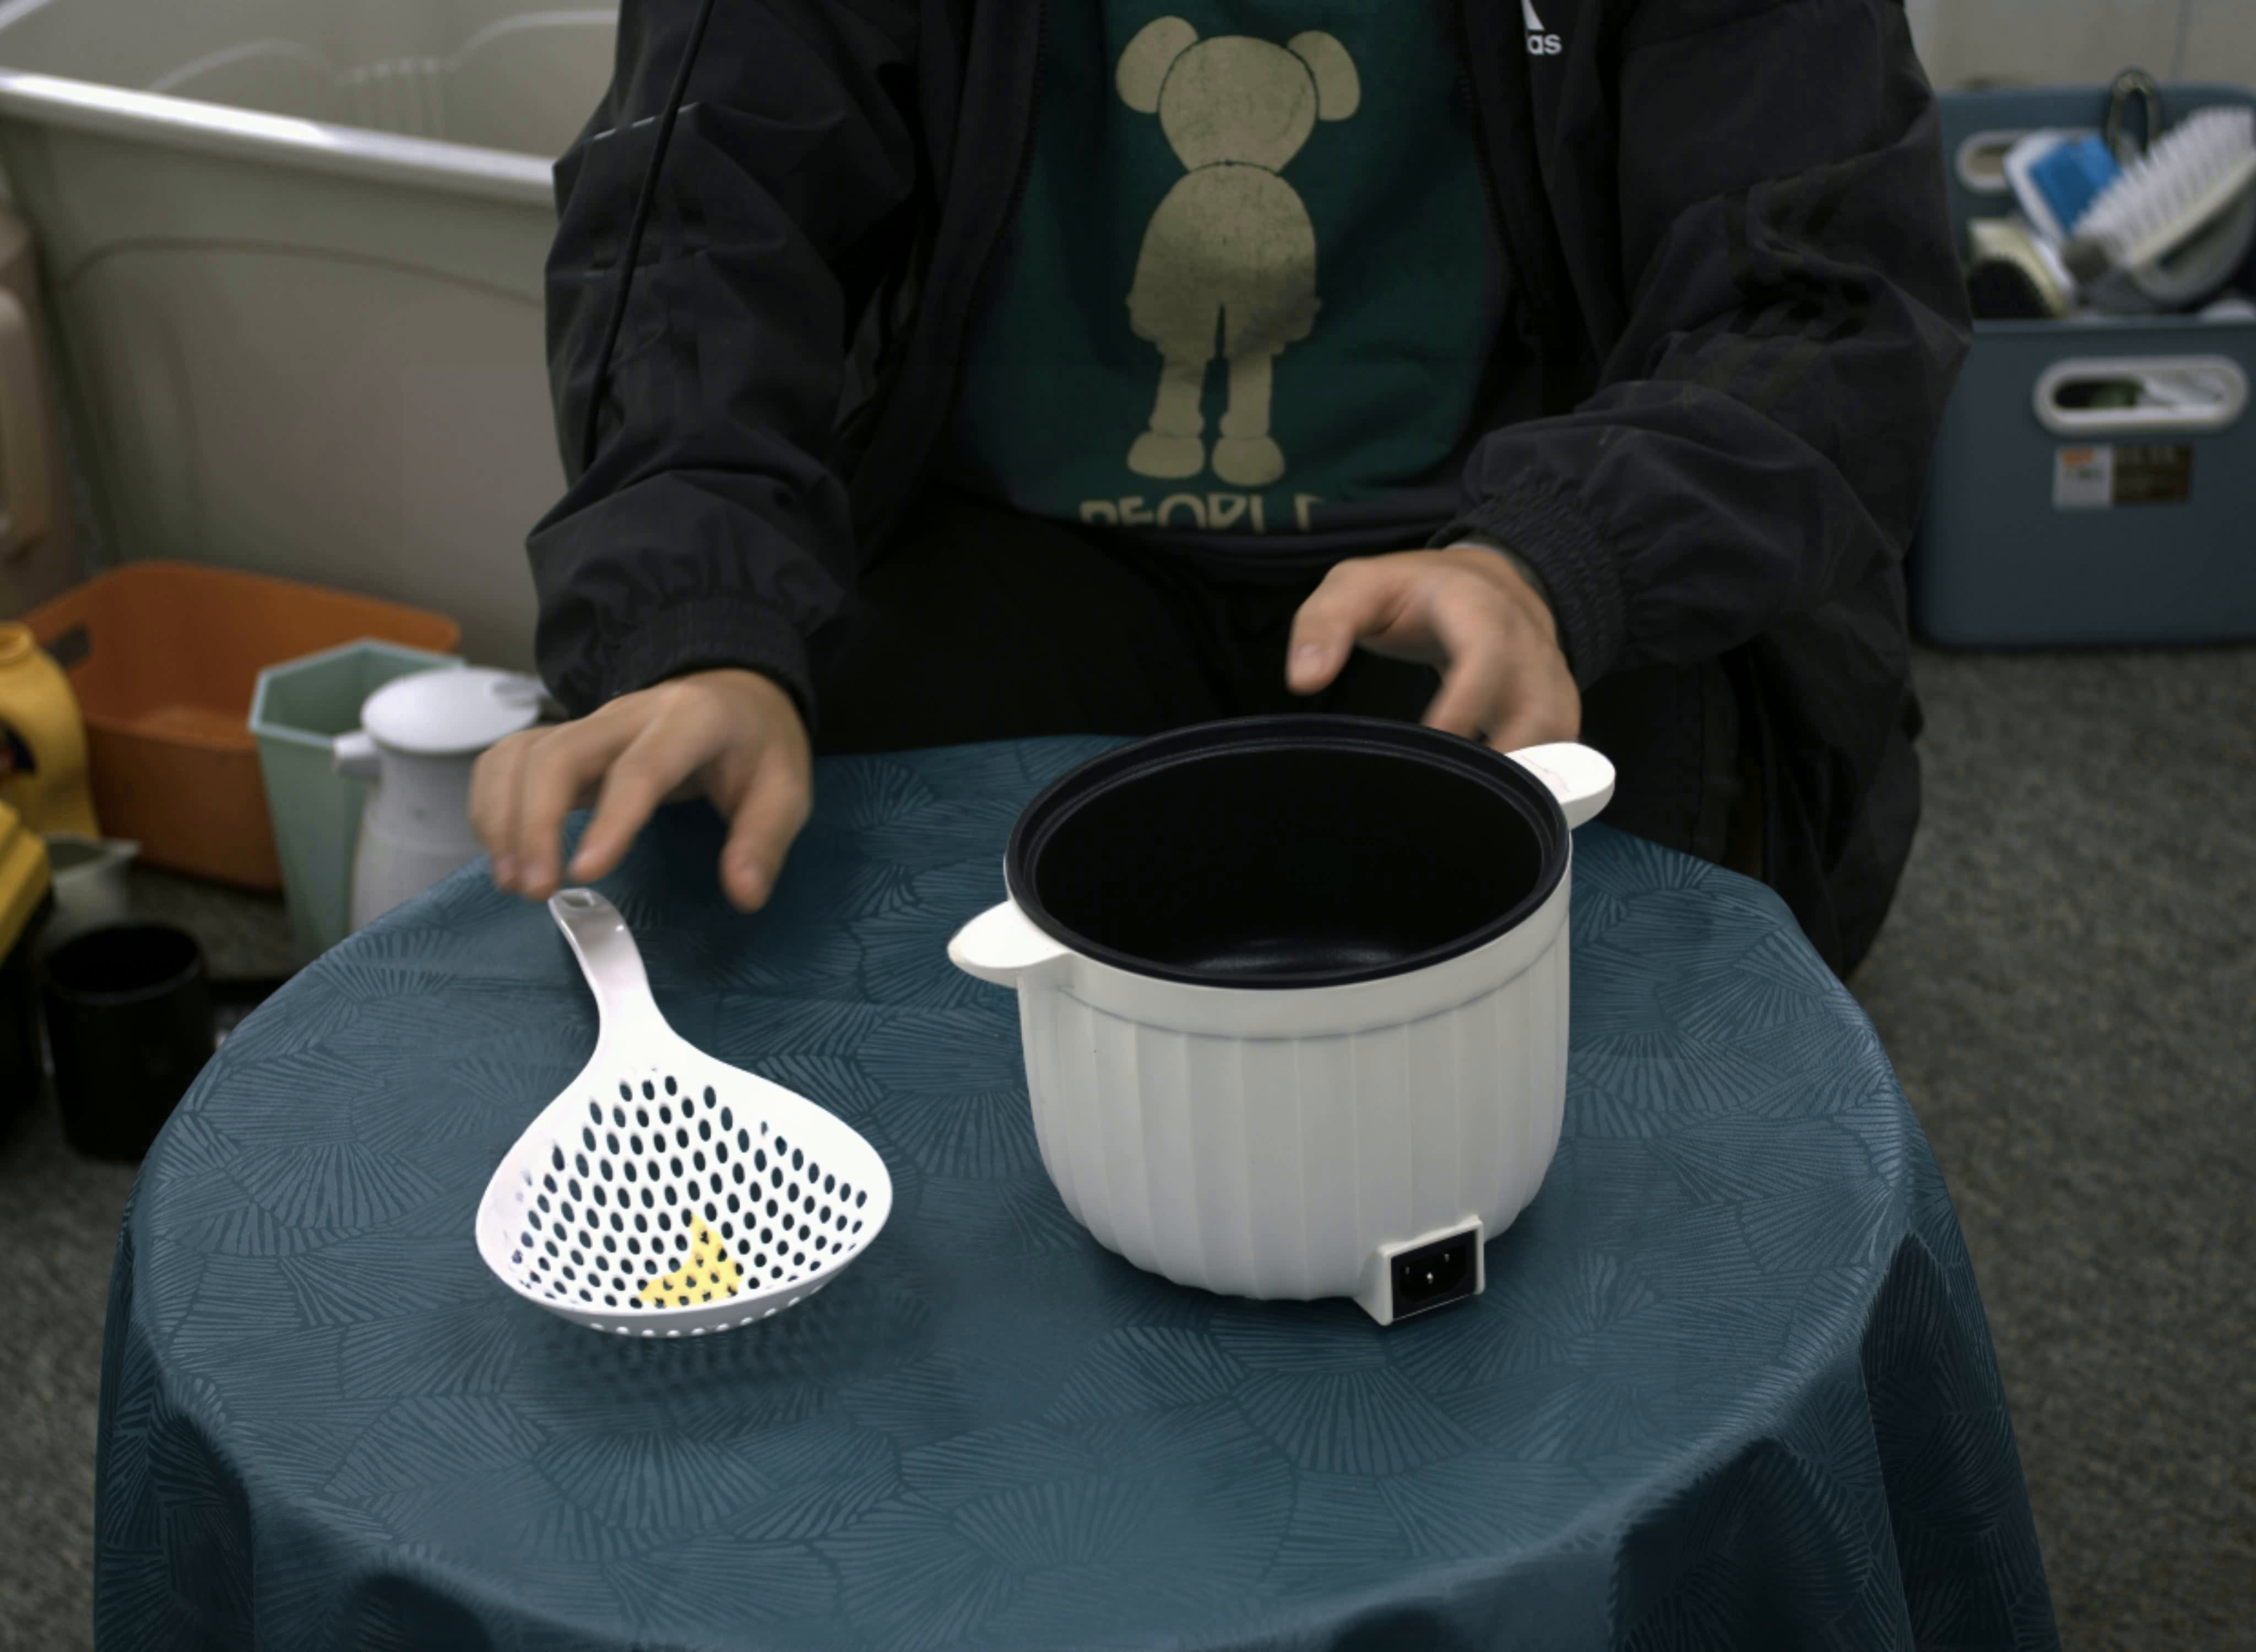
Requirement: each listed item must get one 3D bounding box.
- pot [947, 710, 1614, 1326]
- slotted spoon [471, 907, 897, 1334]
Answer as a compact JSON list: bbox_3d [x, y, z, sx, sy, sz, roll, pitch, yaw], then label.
[{"bbox_3d":[0.050,0.061,1.822,0.242,0.141,0.191,-15,32,-25],"label":"pot"},{"bbox_3d":[-0.165,0.087,1.897,0.137,0.050,0.352,-10,28,-10],"label":"slotted spoon"}]
